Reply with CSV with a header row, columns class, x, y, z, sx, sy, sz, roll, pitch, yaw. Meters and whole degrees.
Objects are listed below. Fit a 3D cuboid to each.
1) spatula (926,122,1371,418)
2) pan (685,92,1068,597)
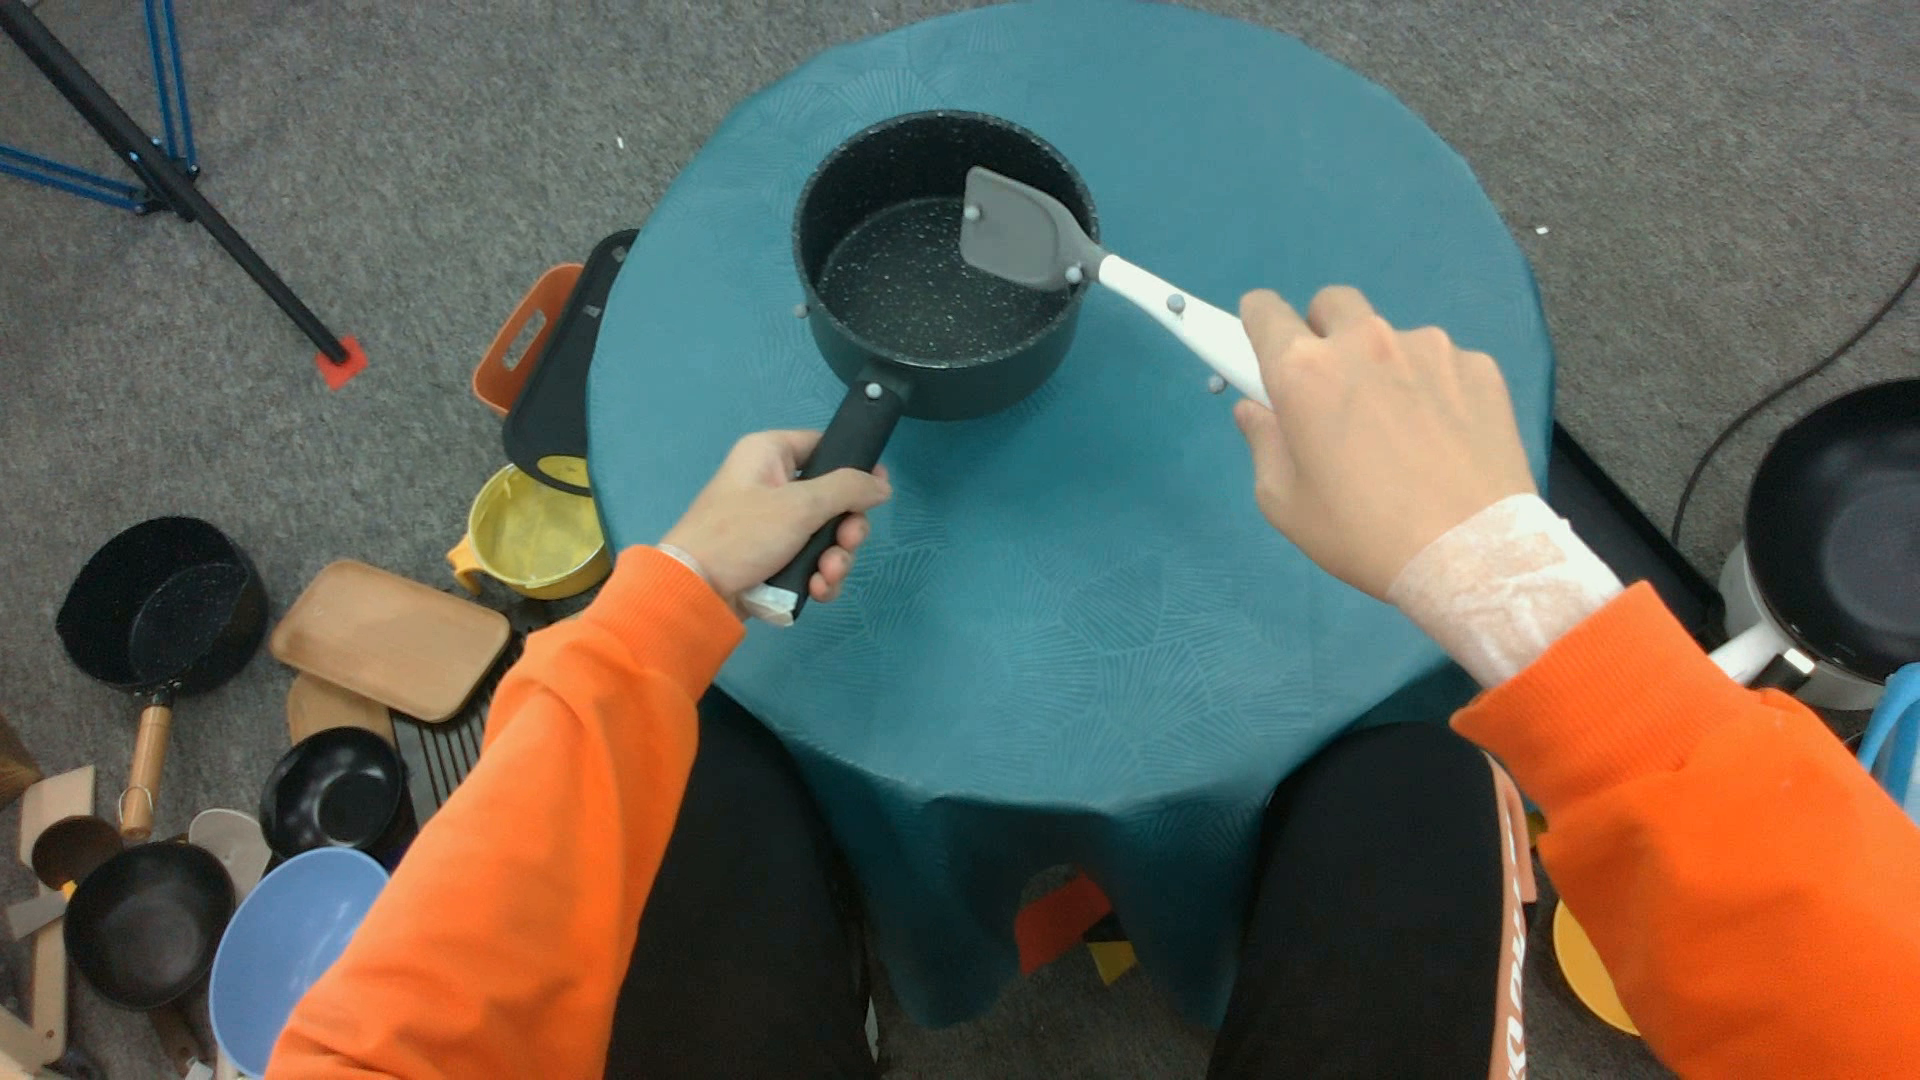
class,x,y,z,sx,sy,sz,roll,pitch,yaw
spatula,0.070,-0.127,0.628,0.032,0.058,0.288,-11,34,-32
pan,-0.056,-0.101,0.762,0.172,0.086,0.330,21,66,8
